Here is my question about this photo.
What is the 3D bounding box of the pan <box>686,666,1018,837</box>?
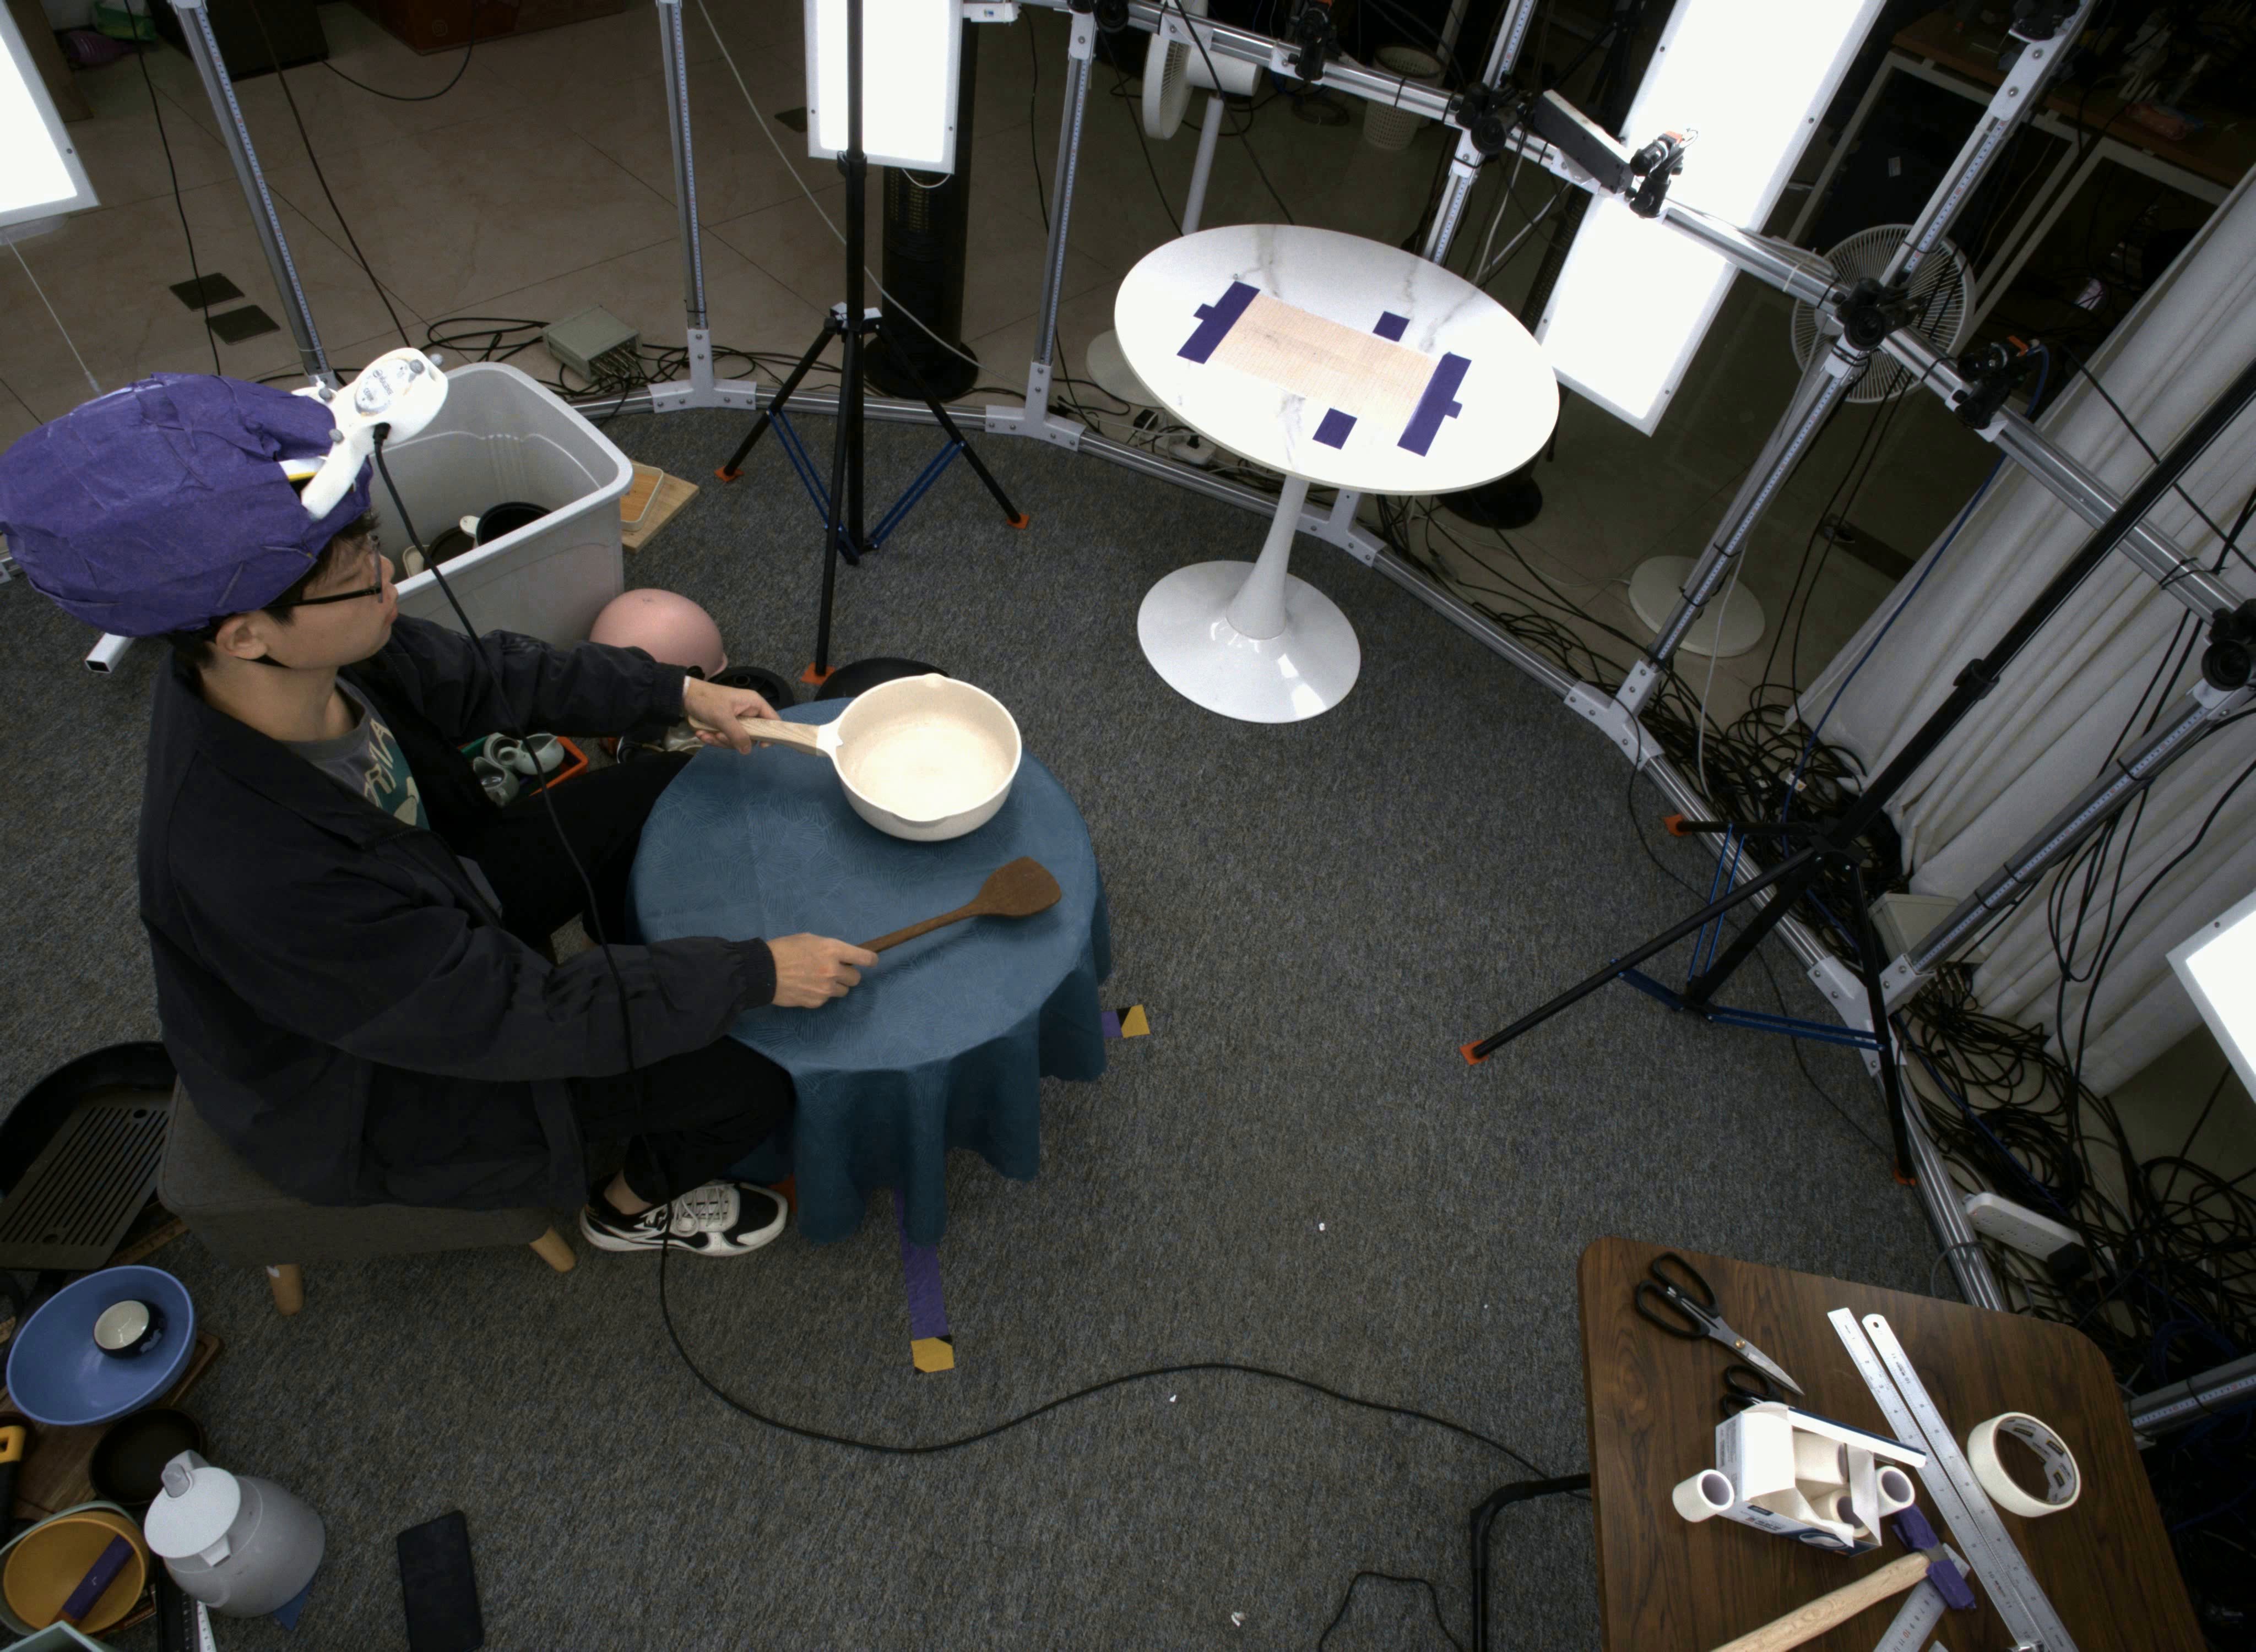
[{"bbox_3d":[-0.365,-0.102,1.741,0.433,0.104,0.258,3,54,-9],"label":"pan"}]

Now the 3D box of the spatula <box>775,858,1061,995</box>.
[{"bbox_3d":[-0.259,0.129,1.622,0.388,0.016,0.093,-21,52,-30],"label":"spatula"}]
